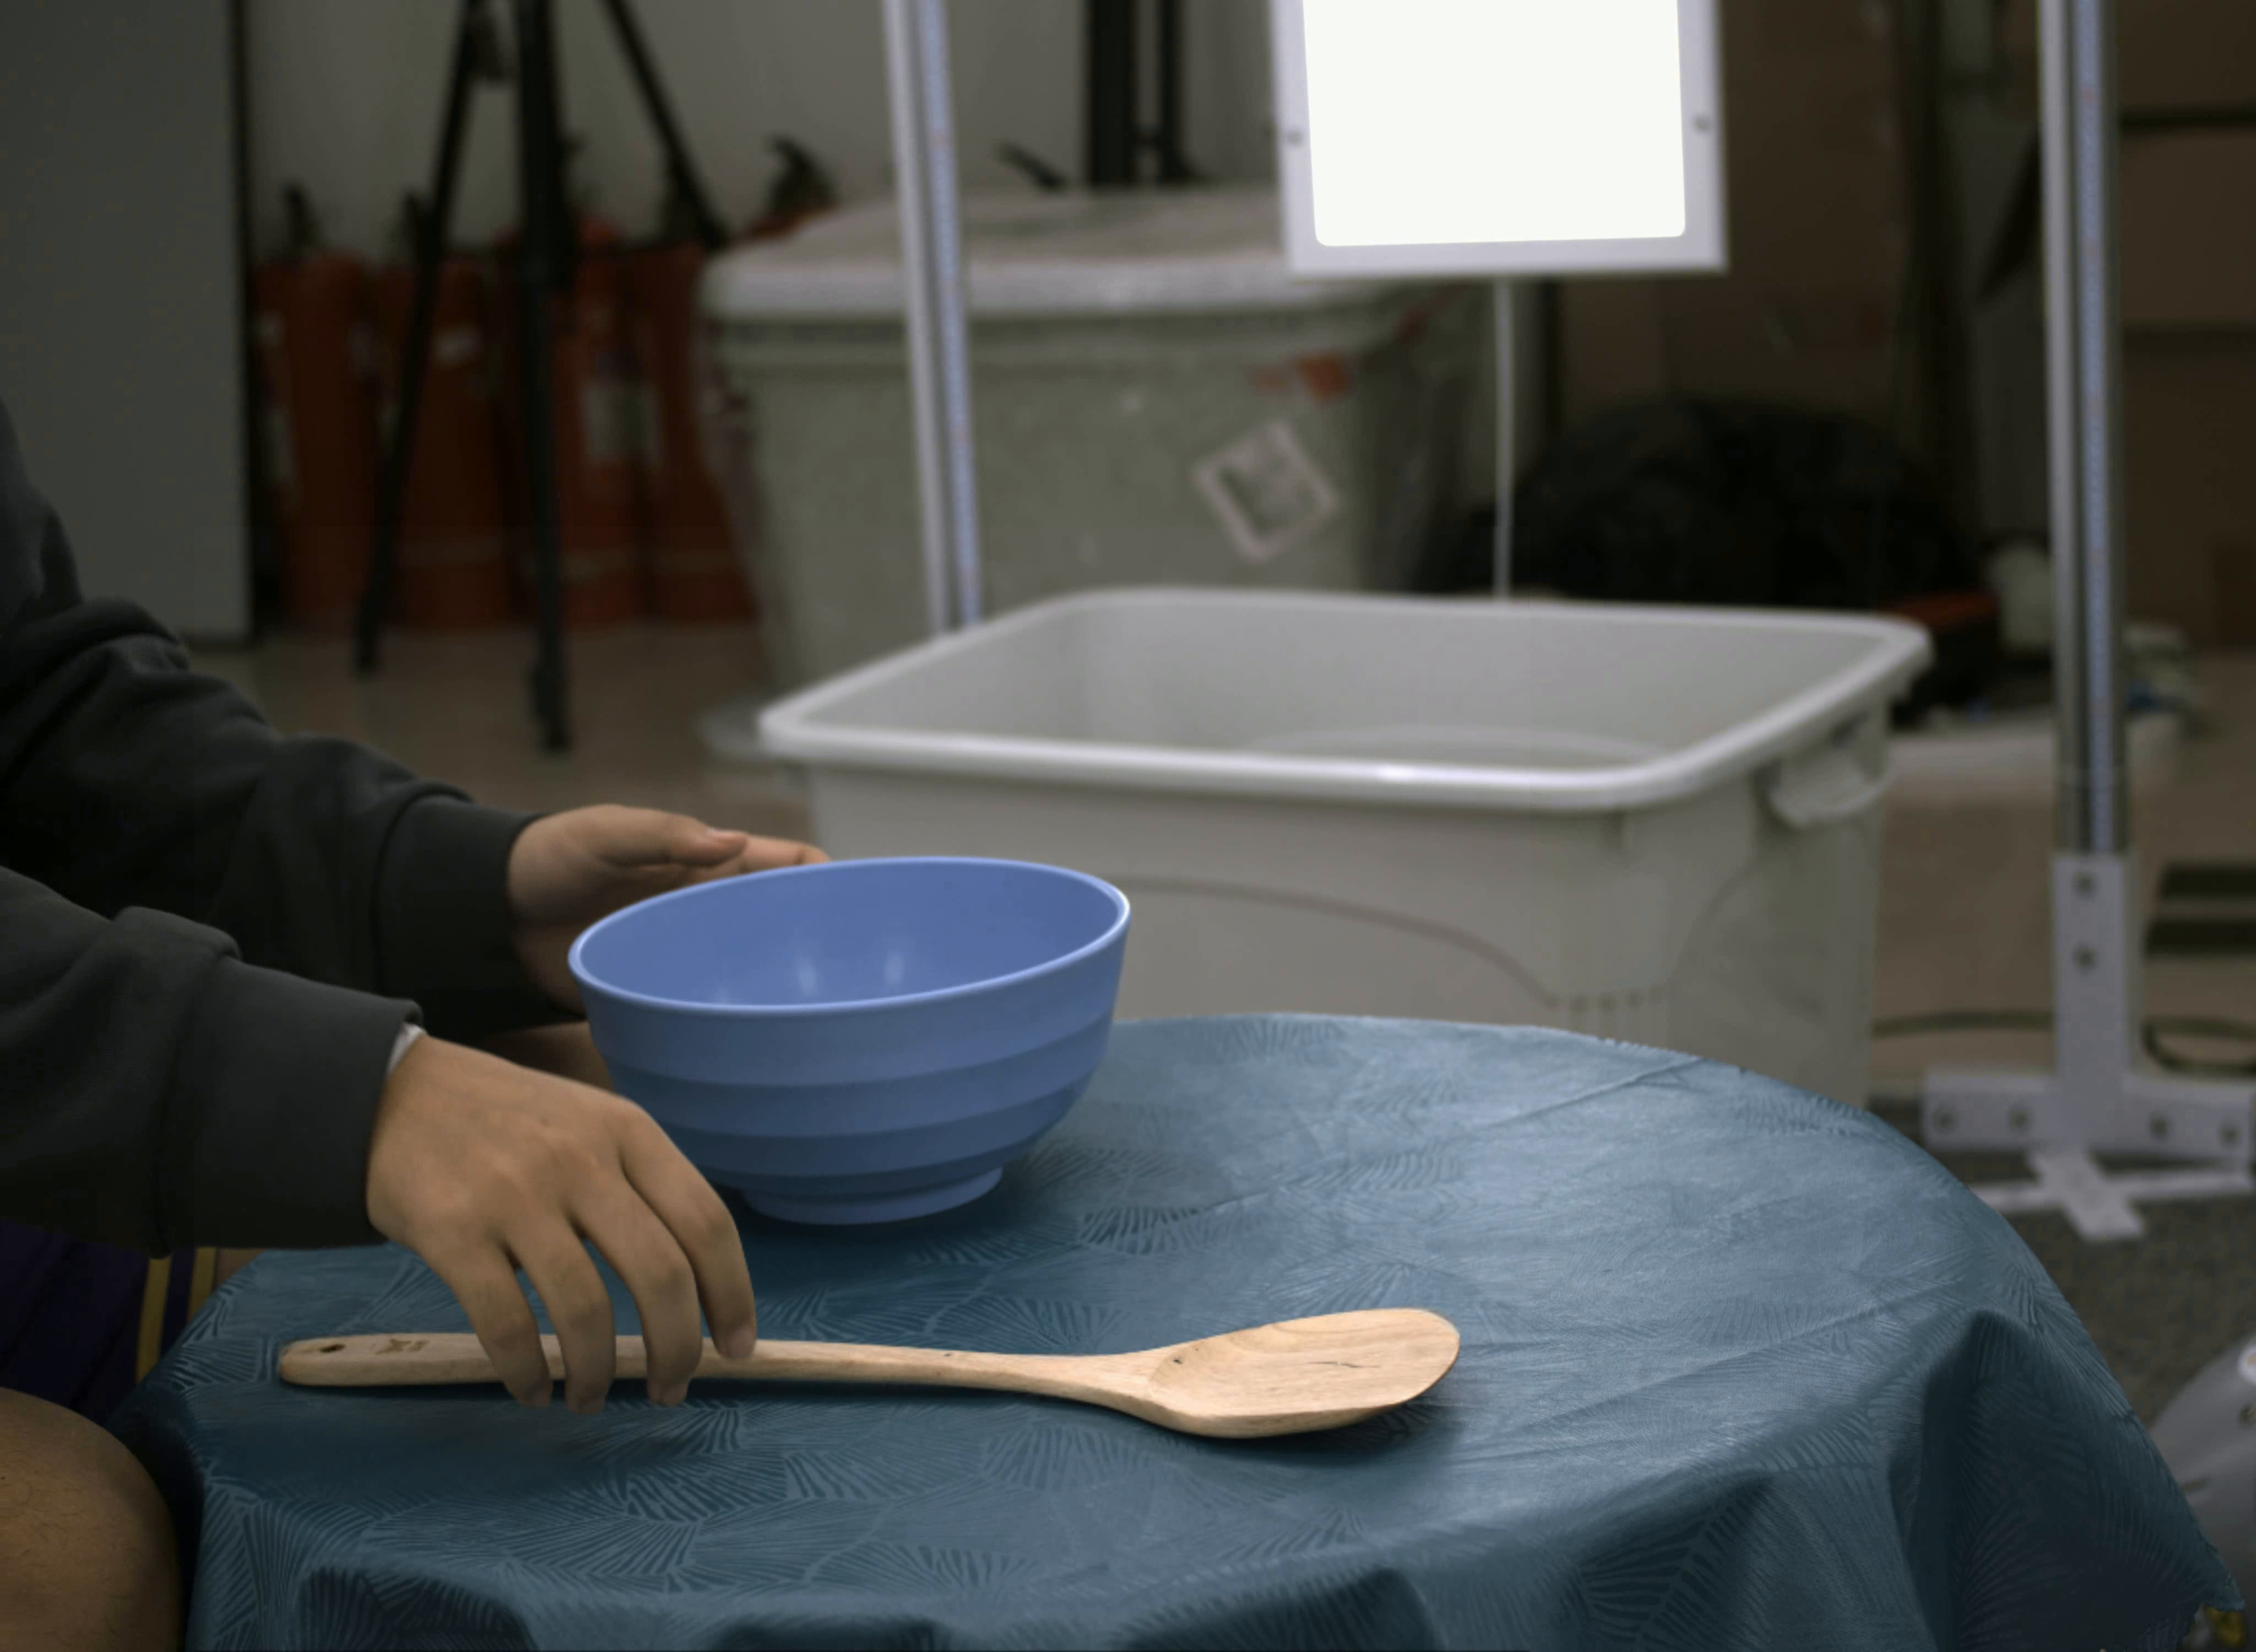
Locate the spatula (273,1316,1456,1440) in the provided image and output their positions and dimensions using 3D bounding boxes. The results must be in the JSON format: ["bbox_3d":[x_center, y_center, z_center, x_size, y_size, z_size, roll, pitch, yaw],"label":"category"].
[{"bbox_3d":[-0.089,0.170,1.717,0.395,0.018,0.094,0,13,19],"label":"spatula"}]

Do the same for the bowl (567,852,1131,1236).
[{"bbox_3d":[-0.094,0.083,1.922,0.196,0.096,0.196,-5,16,0],"label":"bowl"}]
